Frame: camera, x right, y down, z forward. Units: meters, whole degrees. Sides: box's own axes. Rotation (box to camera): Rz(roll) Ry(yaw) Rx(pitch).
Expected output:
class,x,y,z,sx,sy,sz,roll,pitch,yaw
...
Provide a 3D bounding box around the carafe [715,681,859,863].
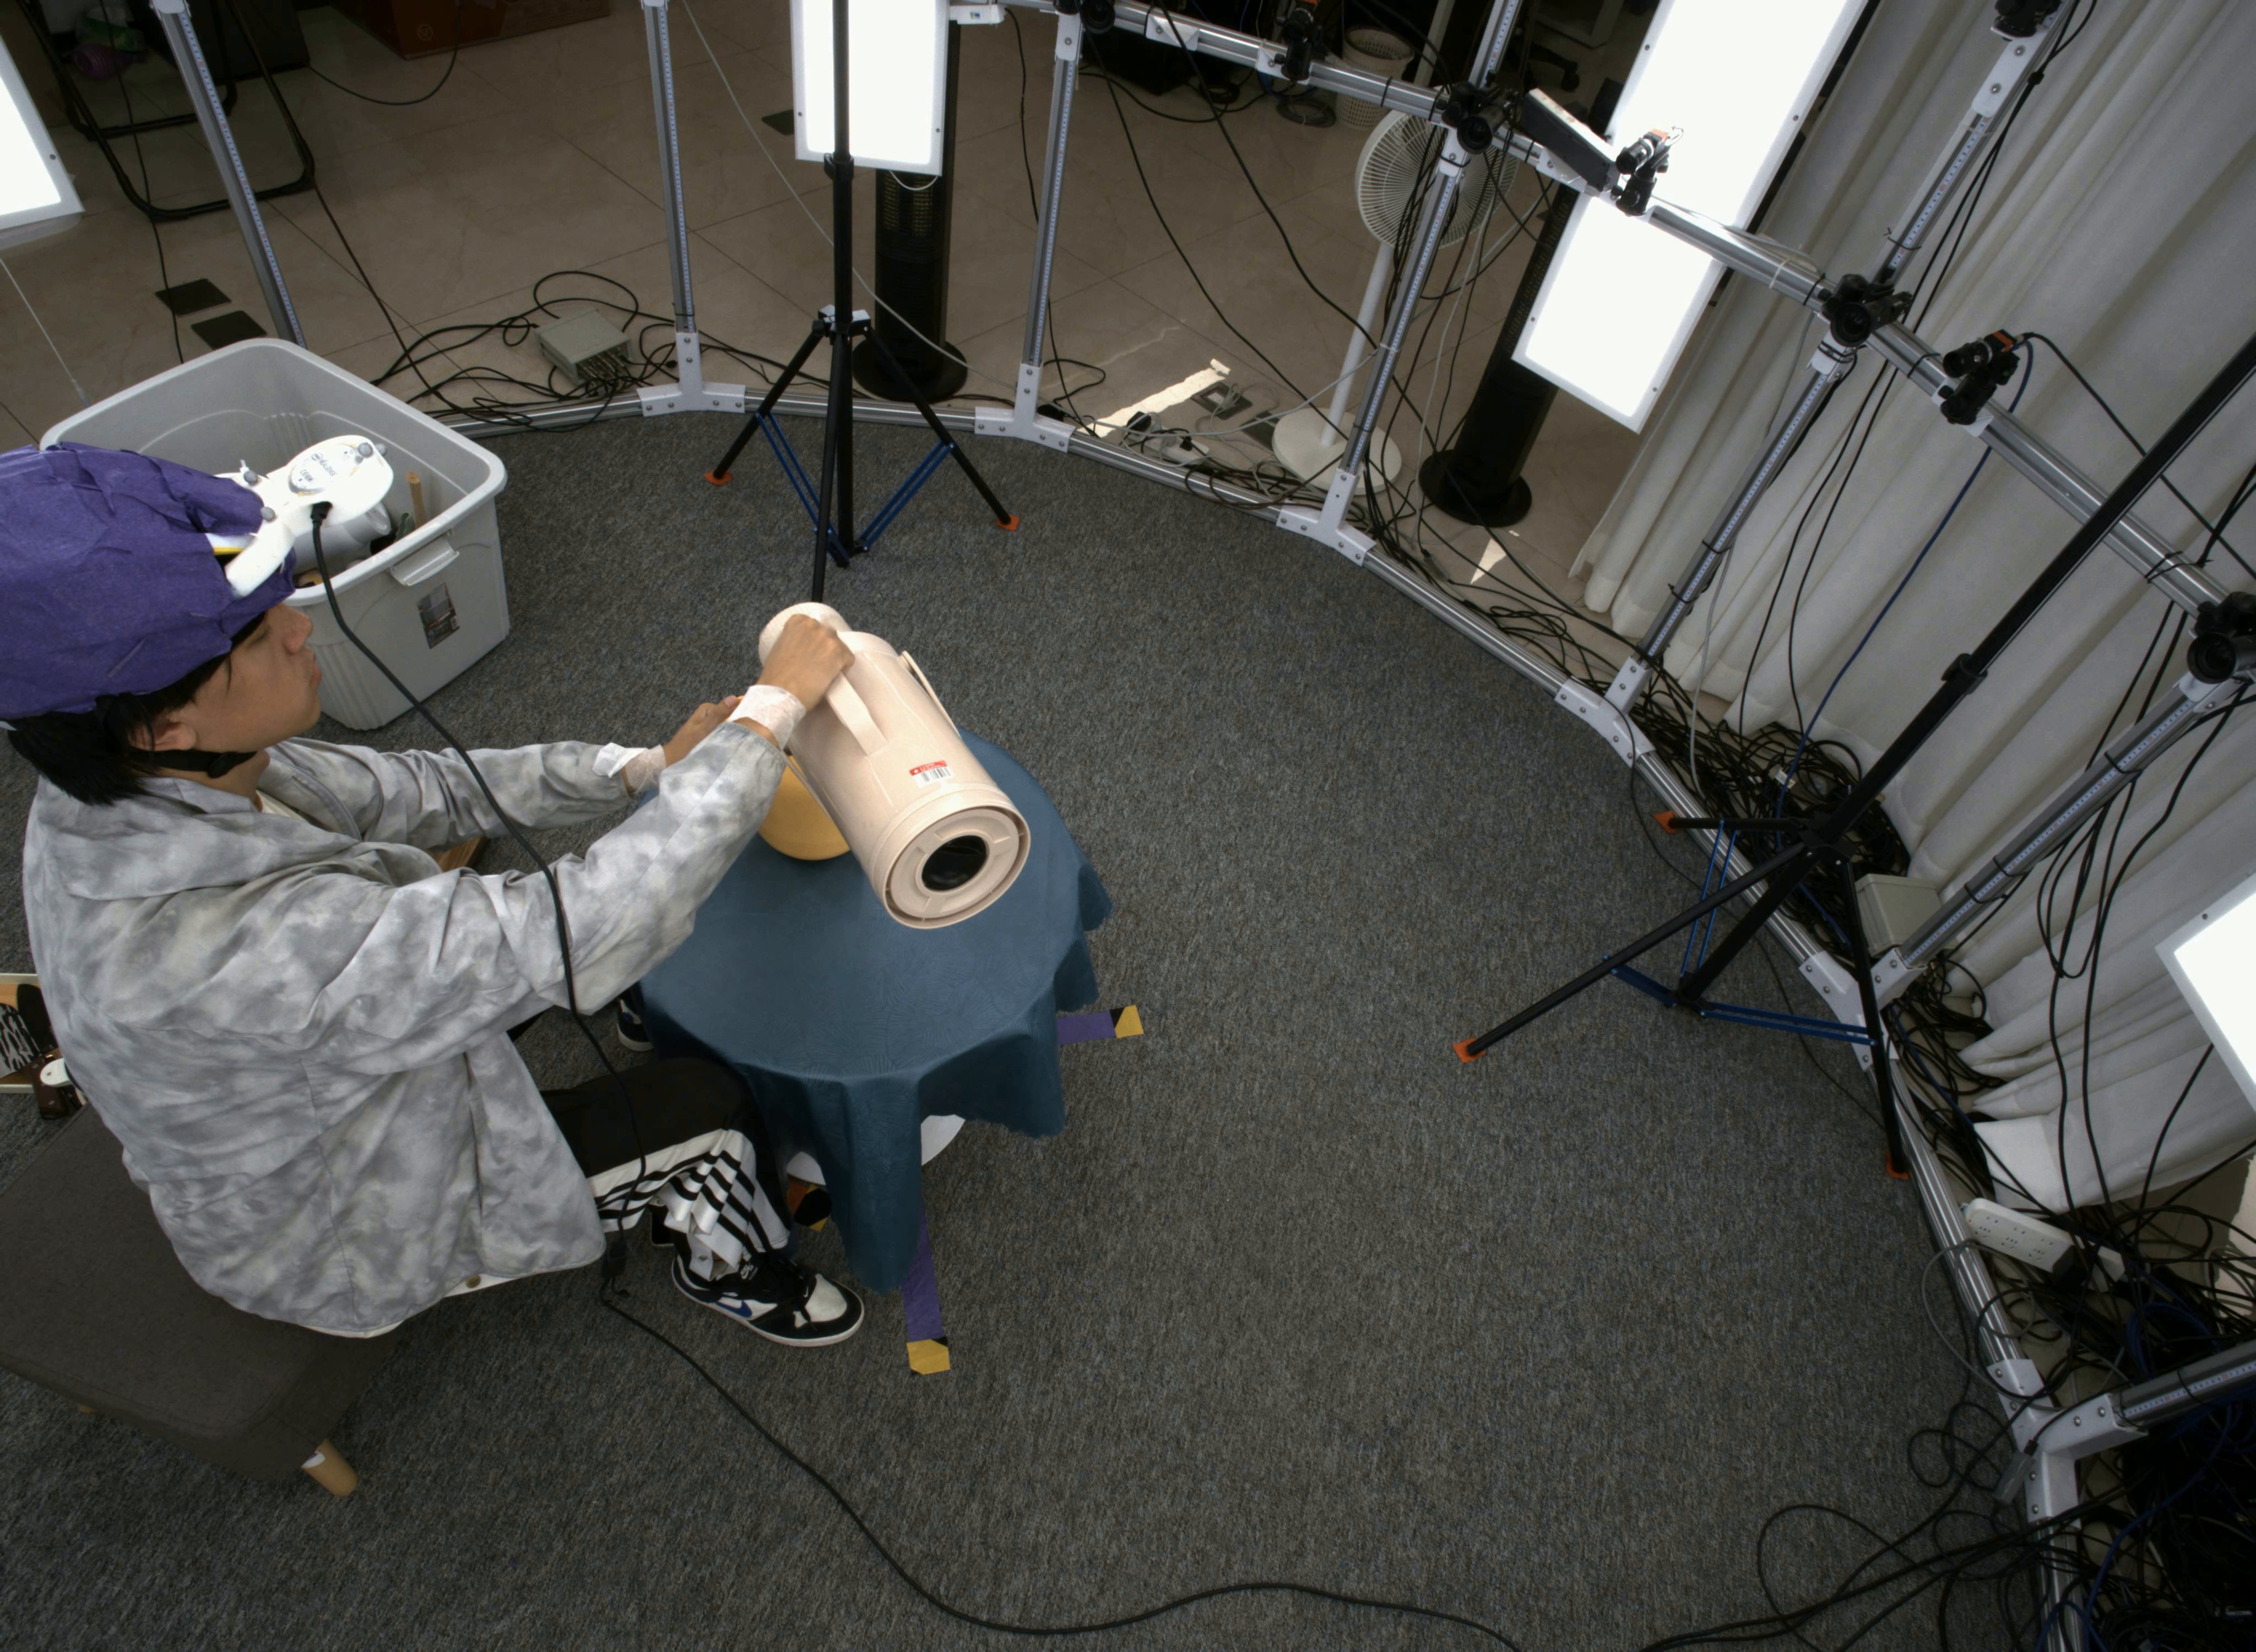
class,x,y,z,sx,sy,sz,roll,pitch,yaw
carafe,-0.411,-0.085,1.624,0.203,0.266,0.159,-6,52,-17

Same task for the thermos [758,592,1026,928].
class,x,y,z,sx,sy,sz,roll,pitch,yaw
thermos,-0.269,-0.095,1.330,0.175,0.214,0.393,-33,56,-7
